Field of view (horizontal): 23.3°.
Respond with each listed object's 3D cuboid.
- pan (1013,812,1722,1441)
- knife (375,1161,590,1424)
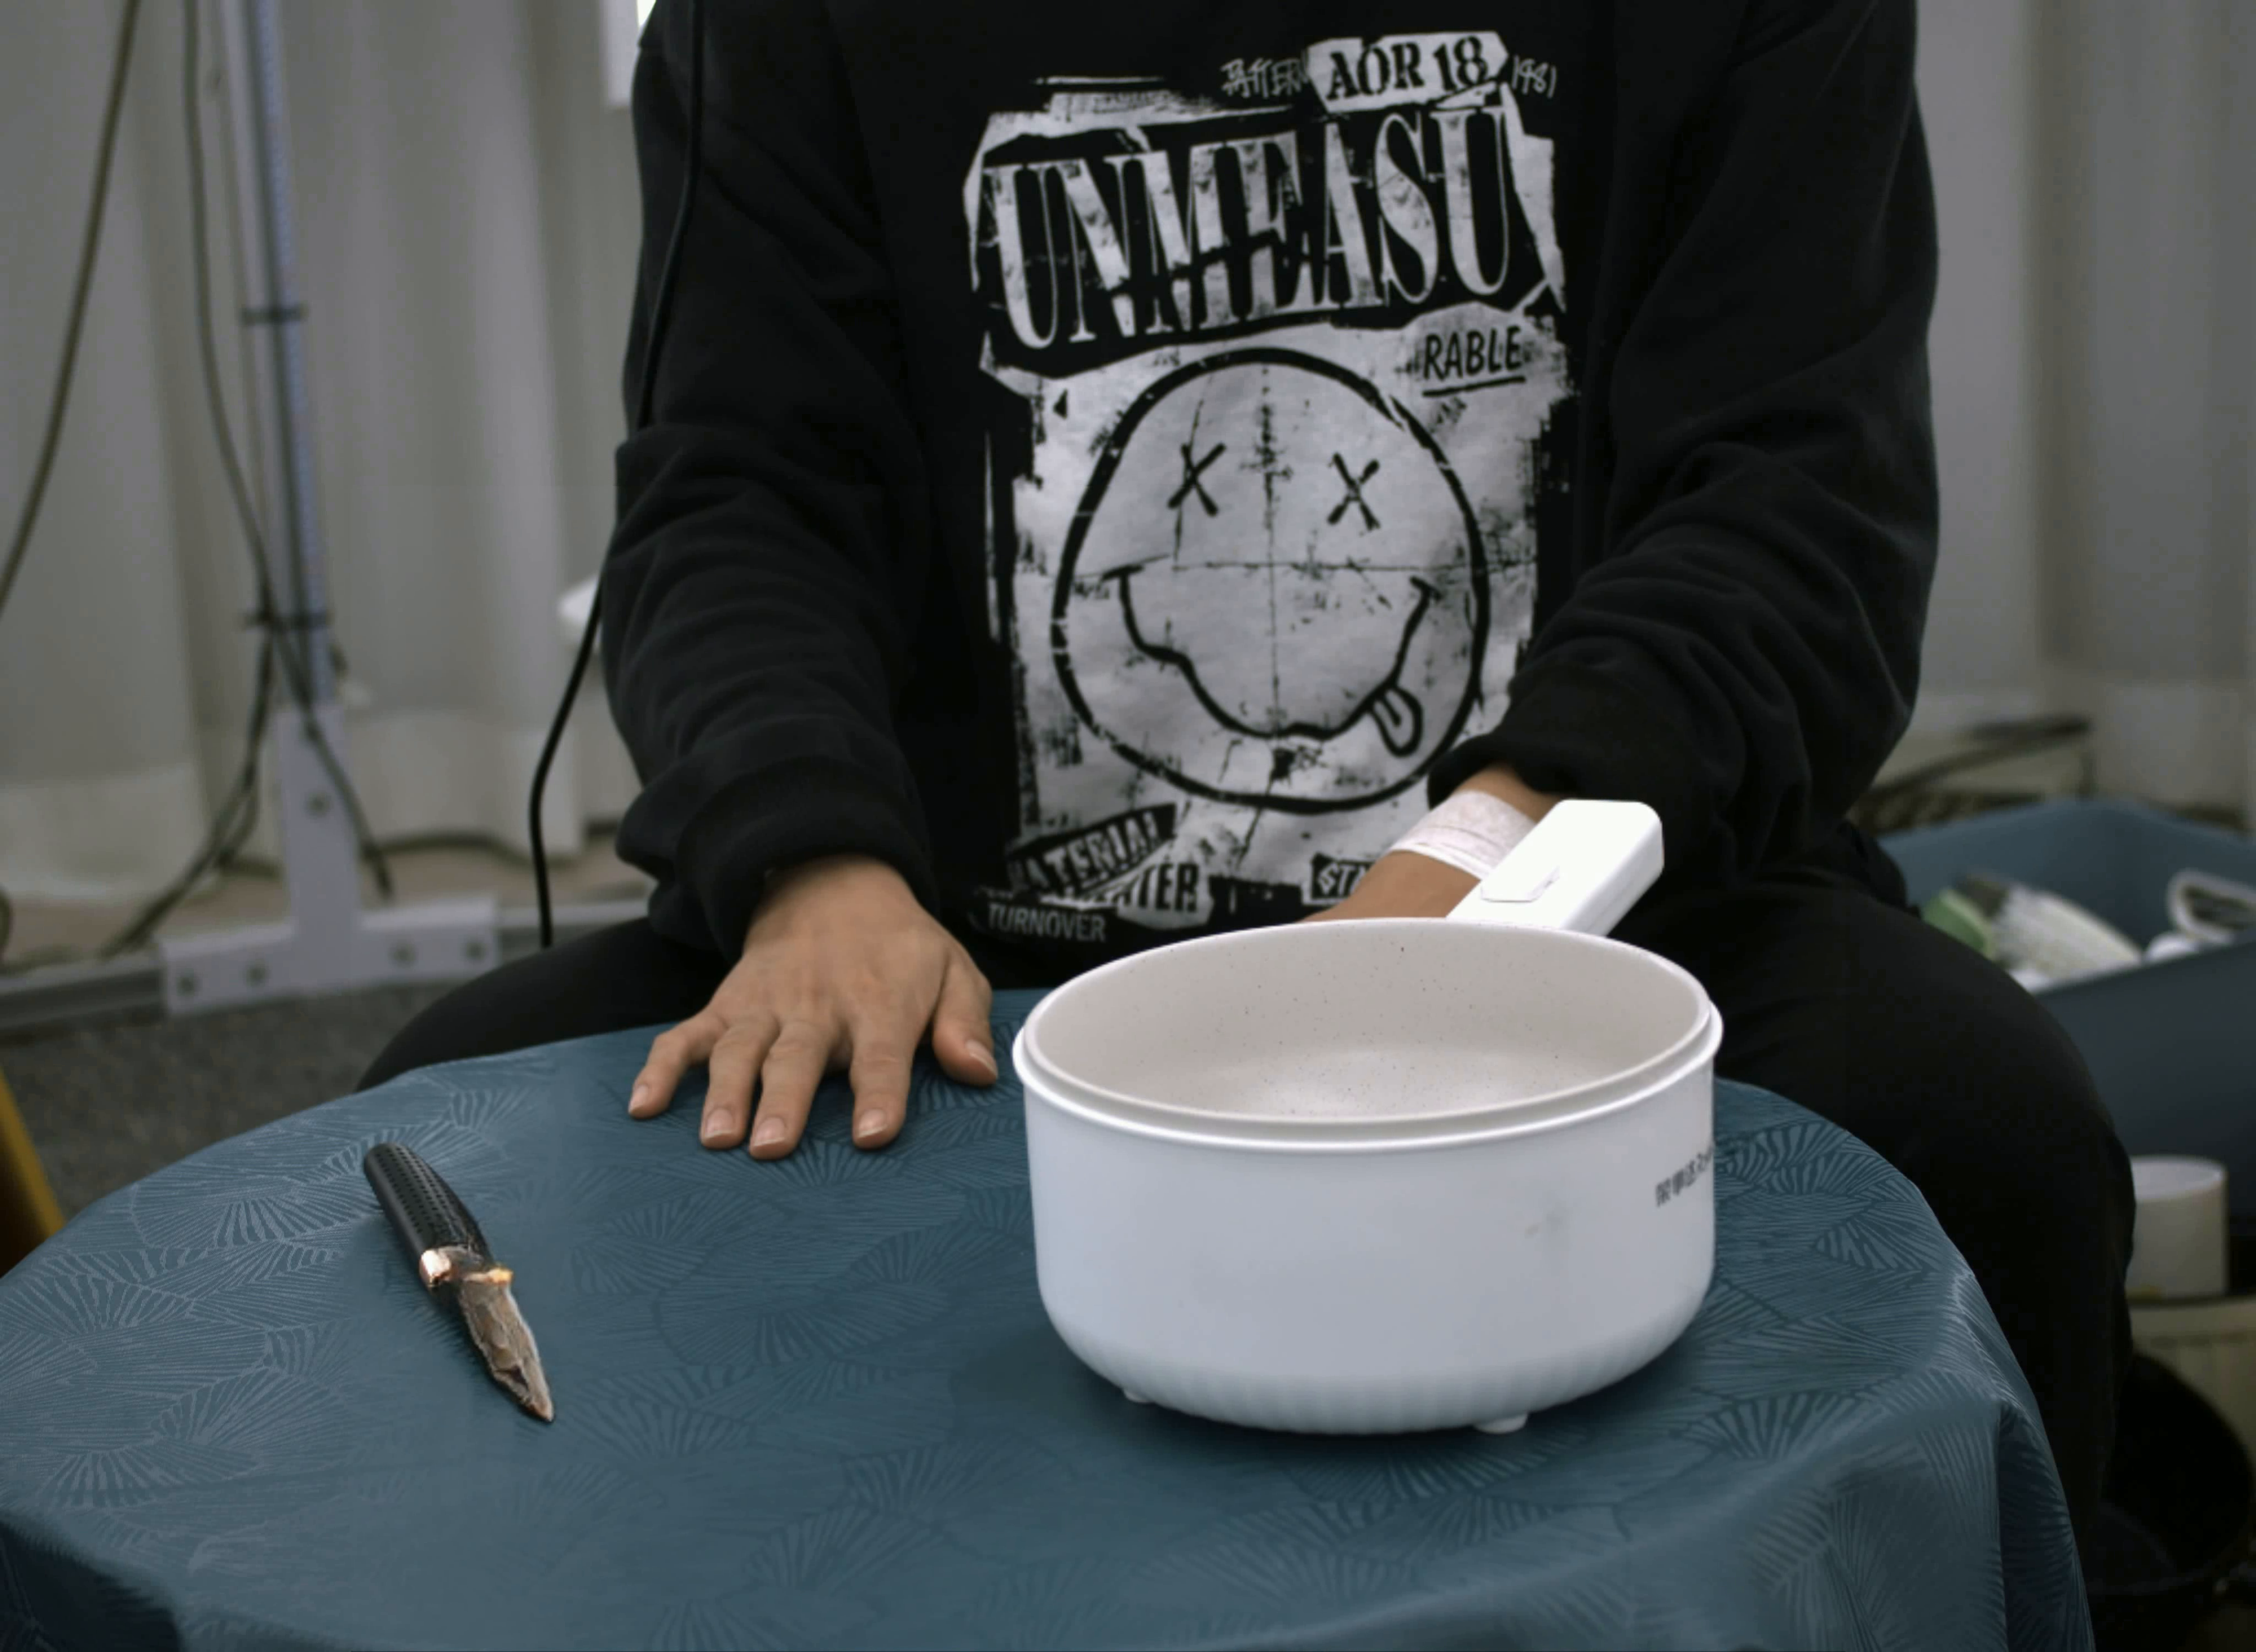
[{"bbox_3d":[0.097,0.085,1.625,0.201,0.102,0.356,1,14,21],"label":"pan"},{"bbox_3d":[-0.196,0.140,1.642,0.026,0.017,0.227,7,12,-21],"label":"knife"}]
